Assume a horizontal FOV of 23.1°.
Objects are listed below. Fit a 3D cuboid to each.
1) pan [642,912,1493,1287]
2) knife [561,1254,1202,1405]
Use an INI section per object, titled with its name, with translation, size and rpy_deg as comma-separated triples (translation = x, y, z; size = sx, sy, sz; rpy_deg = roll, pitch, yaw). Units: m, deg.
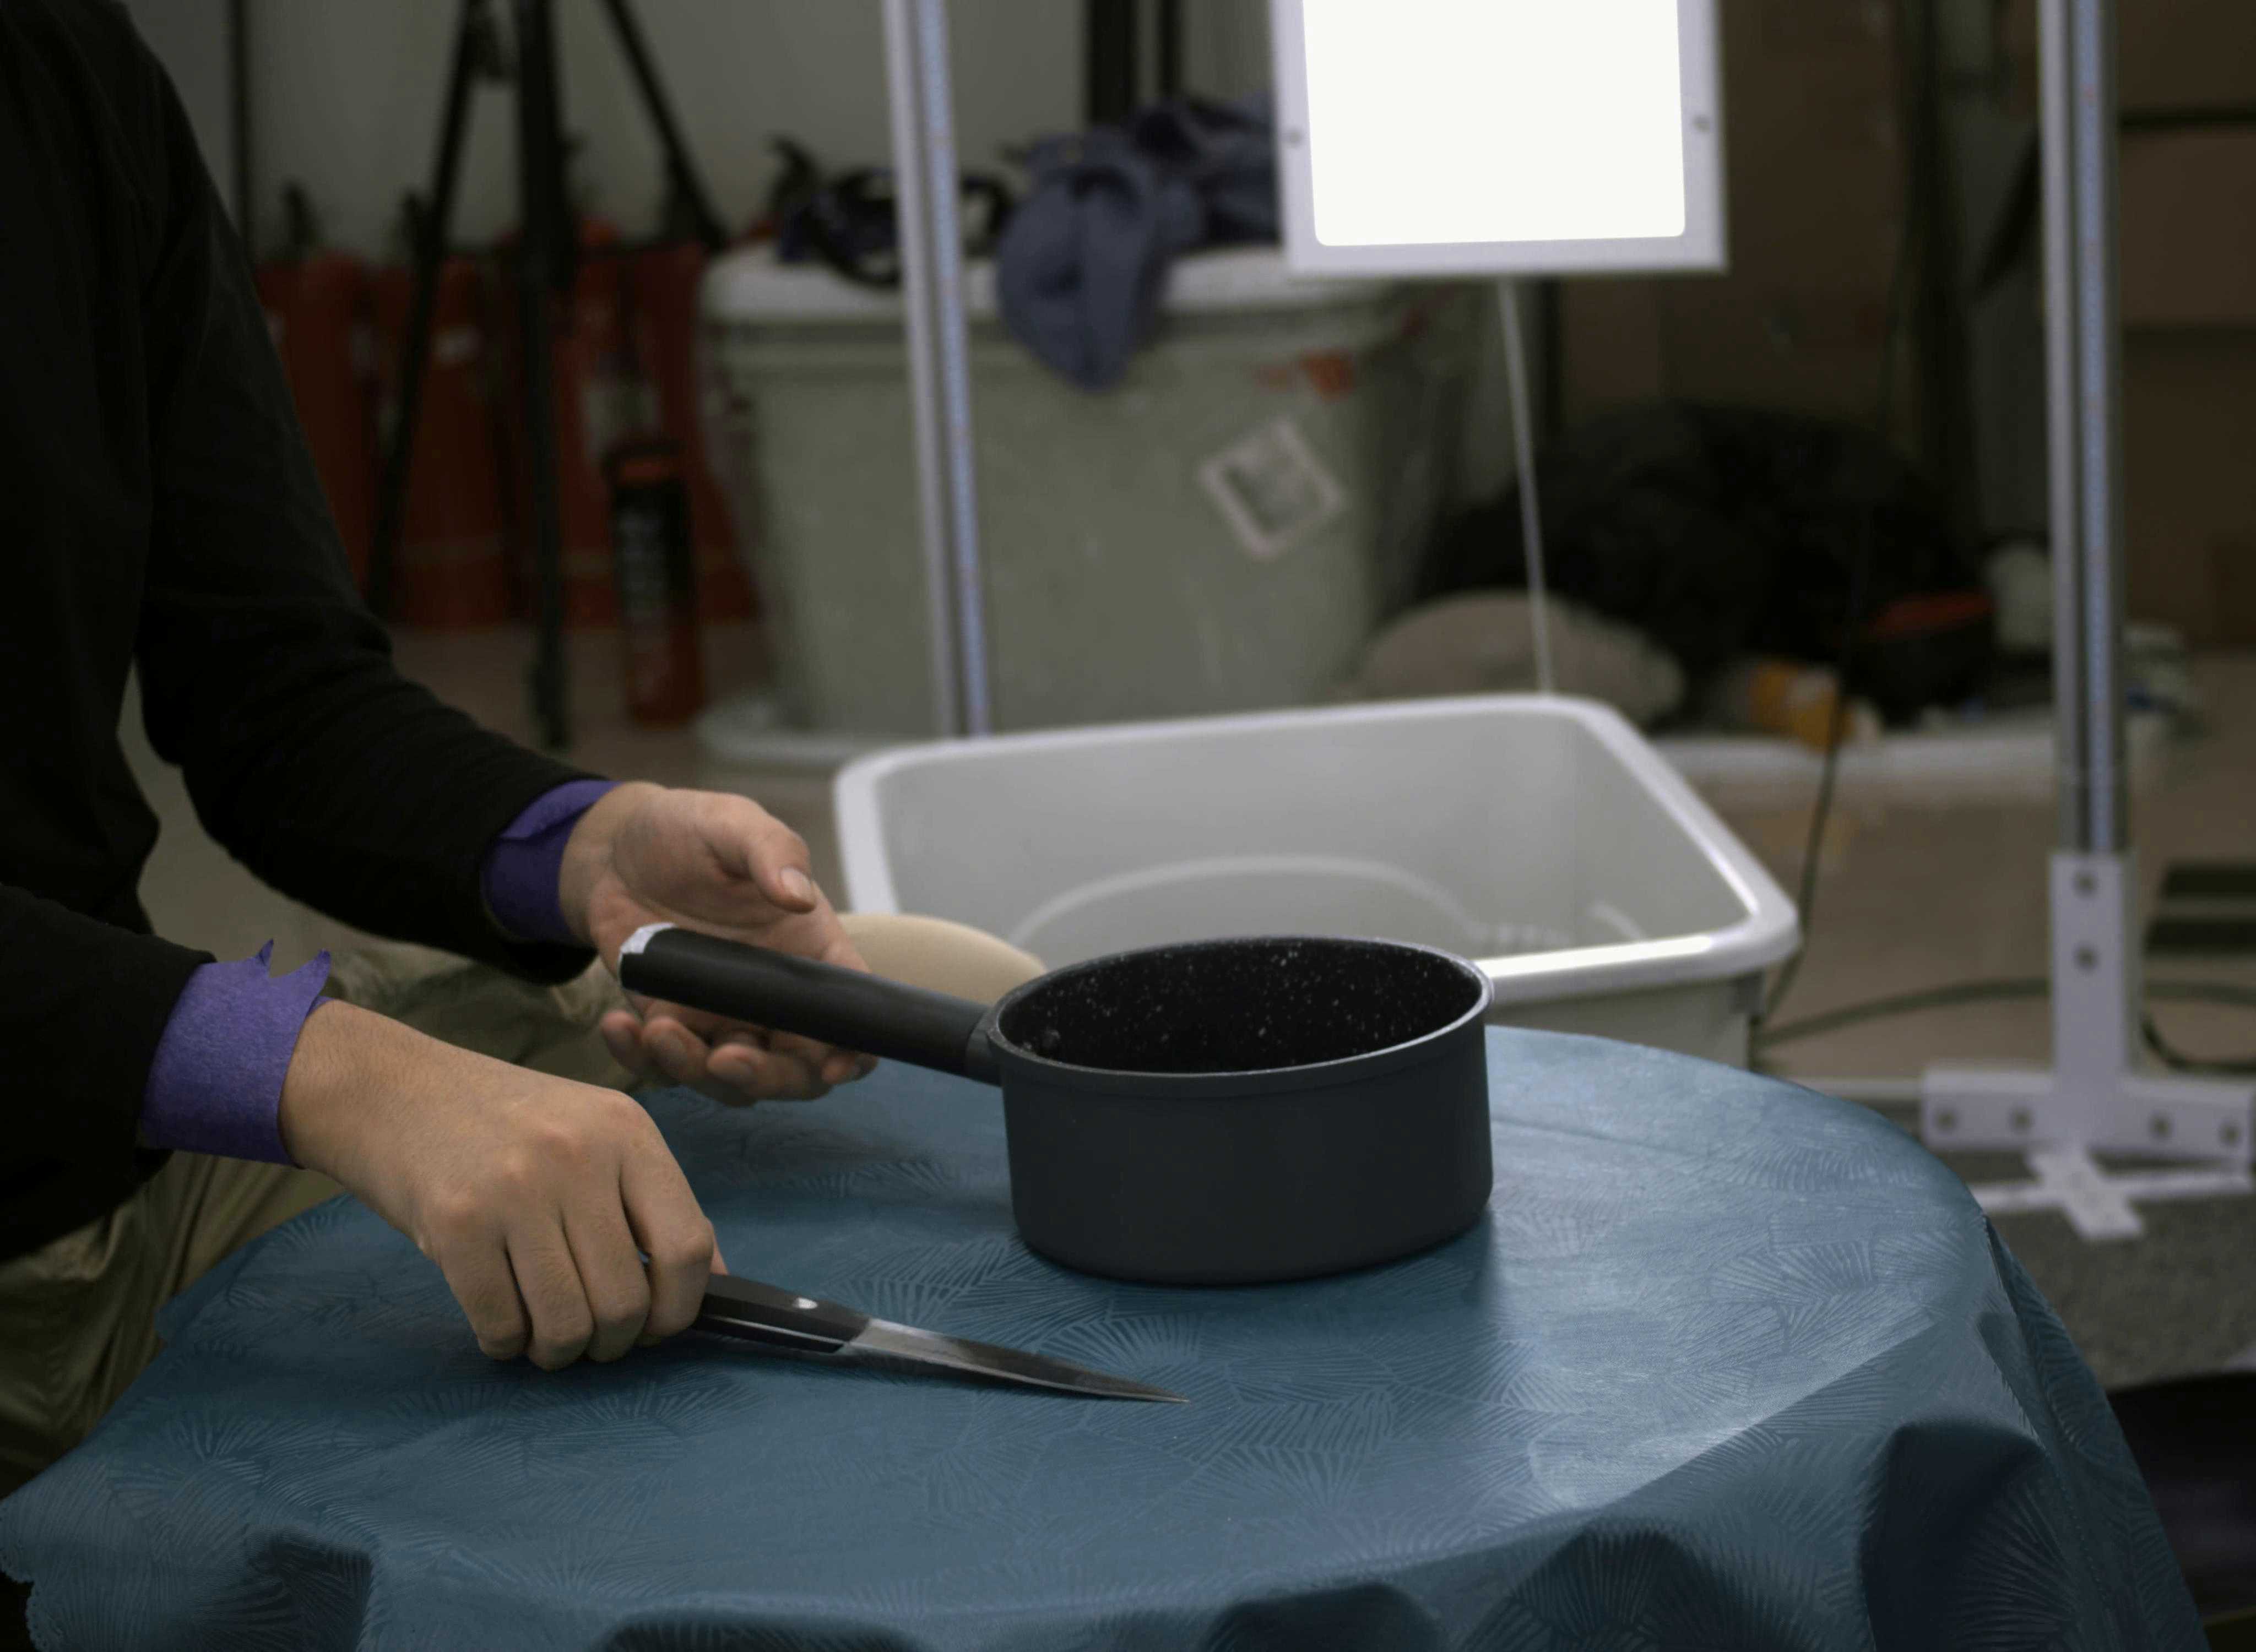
[pan]
translation = -0.028, 0.087, 1.896
size = 0.335, 0.087, 0.168
rpy_deg = 5, 17, 33
[knife]
translation = -0.083, 0.162, 1.748
size = 0.242, 0.016, 0.024
rpy_deg = 8, 17, 30
